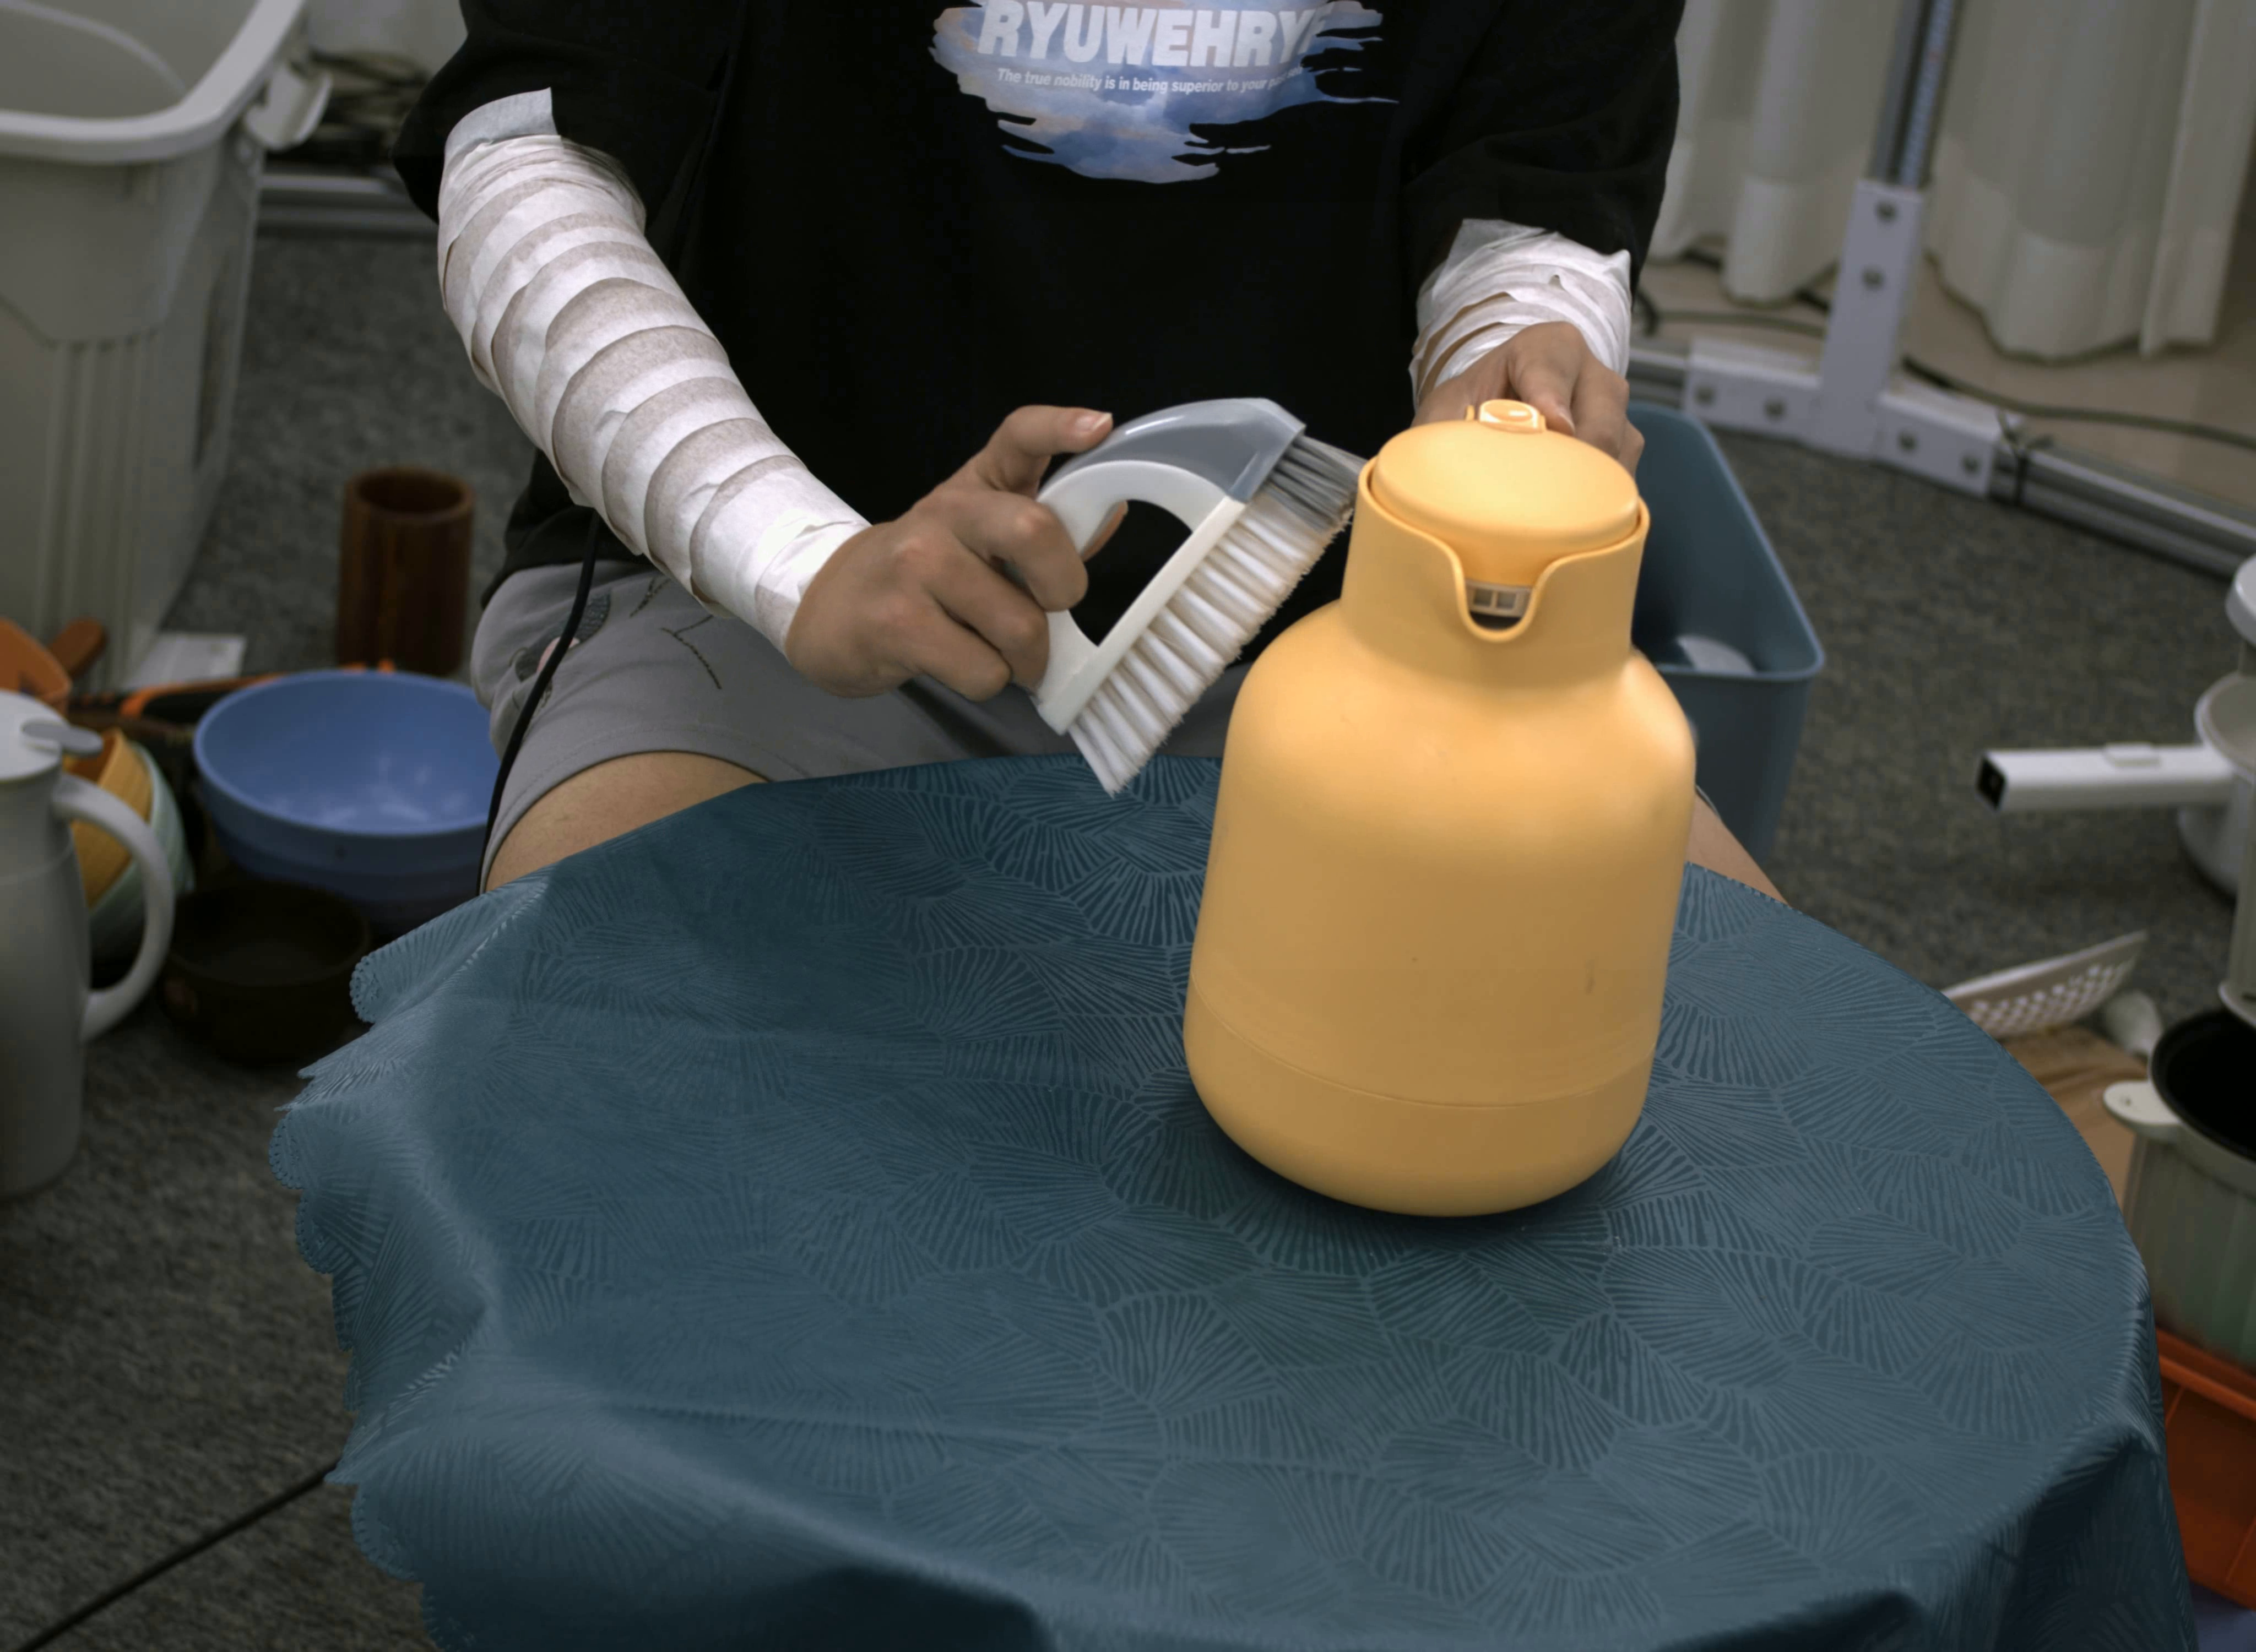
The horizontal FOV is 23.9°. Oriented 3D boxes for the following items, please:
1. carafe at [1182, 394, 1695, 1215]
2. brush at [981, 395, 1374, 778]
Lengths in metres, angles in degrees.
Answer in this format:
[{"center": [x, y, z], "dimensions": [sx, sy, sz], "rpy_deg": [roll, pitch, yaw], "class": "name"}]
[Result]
[{"center": [0.114, -0.016, 1.820], "dimensions": [0.163, 0.259, 0.203], "rpy_deg": [10, 28, 3], "class": "carafe"}, {"center": [0.010, -0.099, 1.836], "dimensions": [0.094, 0.175, 0.061], "rpy_deg": [41, 46, -2], "class": "brush"}]
